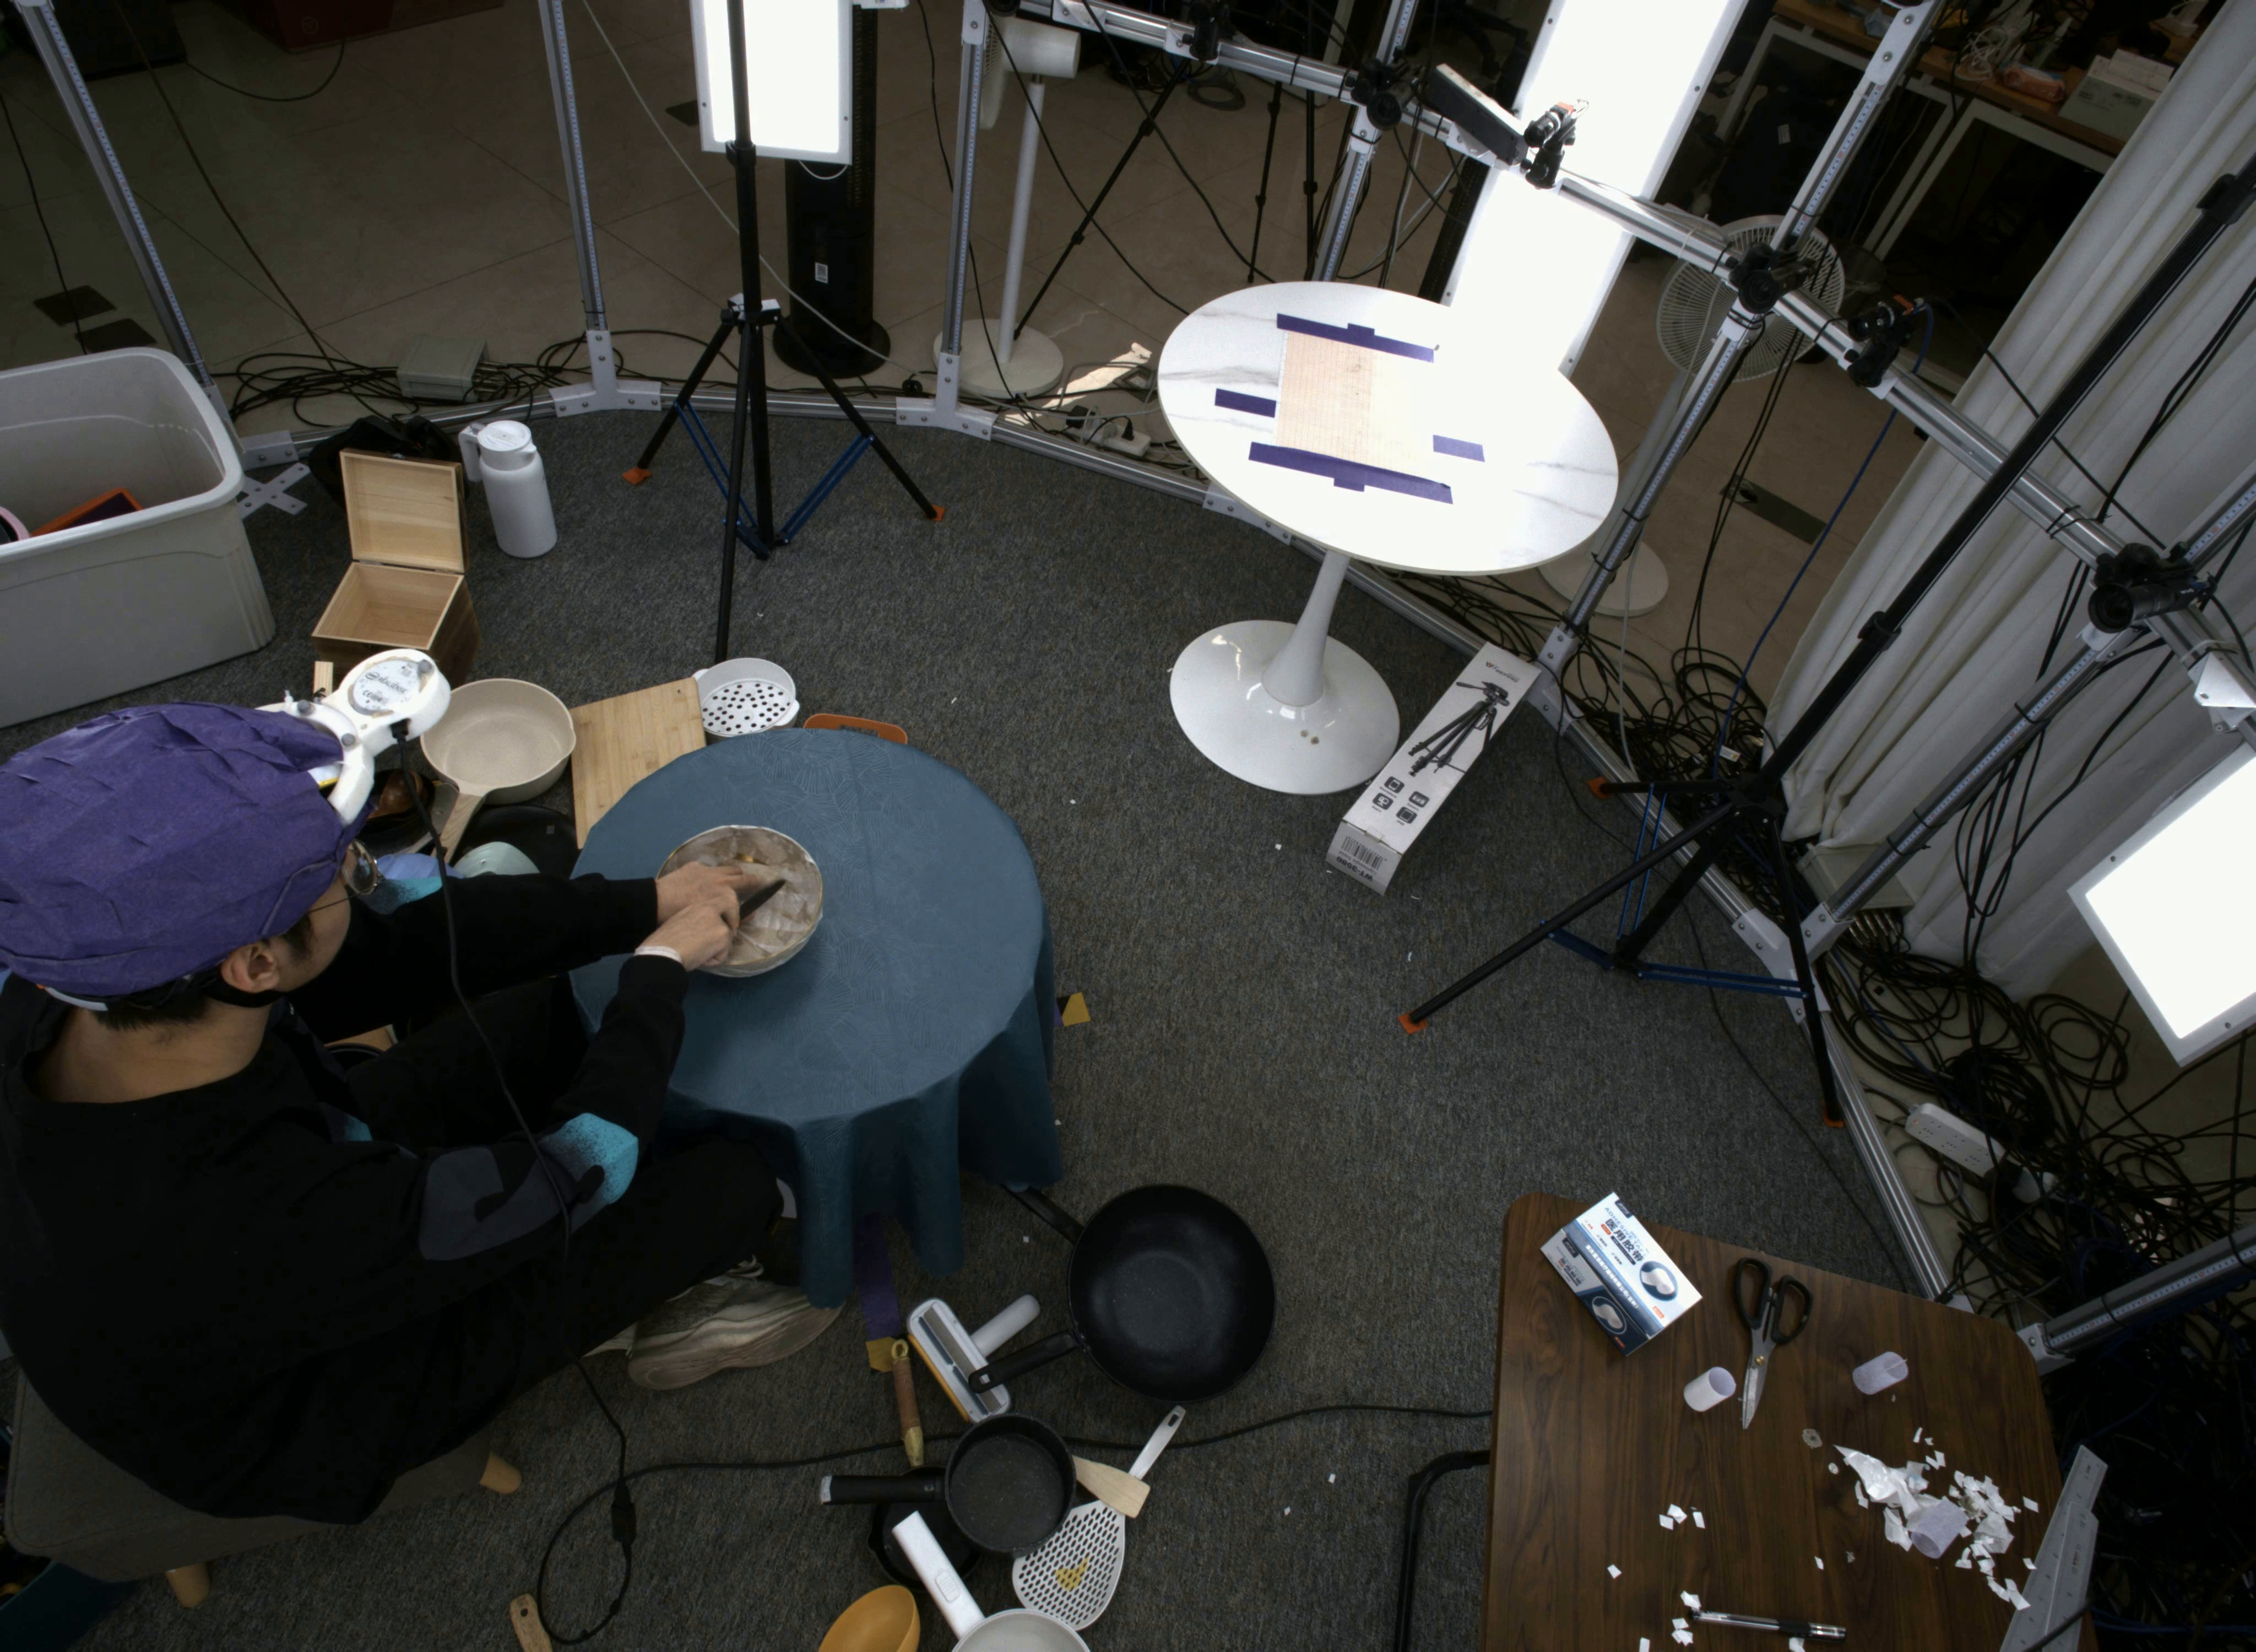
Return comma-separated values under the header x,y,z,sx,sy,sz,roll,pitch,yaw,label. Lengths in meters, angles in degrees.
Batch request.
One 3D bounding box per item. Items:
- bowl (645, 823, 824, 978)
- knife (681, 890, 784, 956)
x,y,z,sx,sy,sz,roll,pitch,yaw,label
-0.473,0.105,1.559,0.215,0.096,0.211,9,52,-10,bowl
-0.461,0.105,1.523,0.017,0.027,0.225,14,18,11,knife
